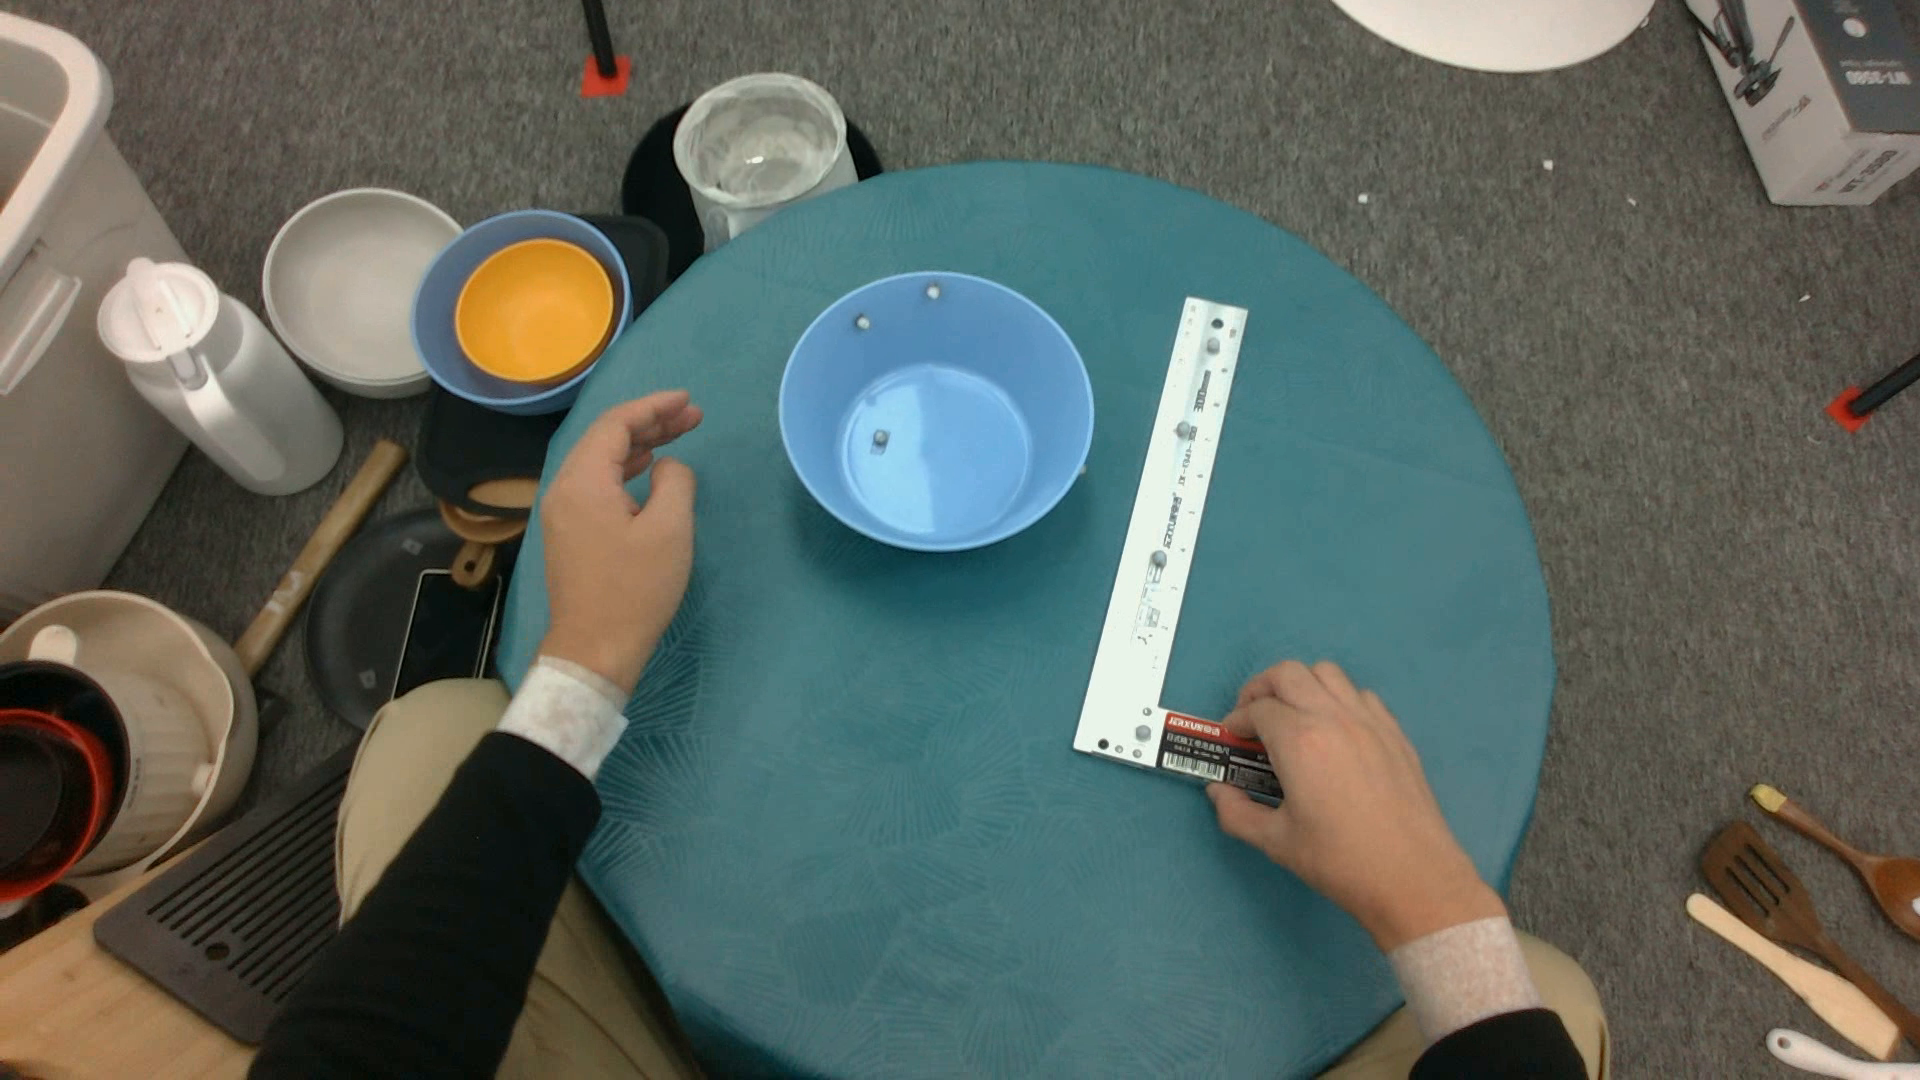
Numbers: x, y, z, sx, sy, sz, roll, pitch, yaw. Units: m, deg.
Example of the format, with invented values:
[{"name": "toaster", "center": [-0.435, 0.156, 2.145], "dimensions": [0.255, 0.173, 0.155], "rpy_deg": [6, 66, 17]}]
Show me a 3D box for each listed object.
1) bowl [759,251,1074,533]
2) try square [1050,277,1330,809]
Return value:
[{"name": "bowl", "center": [-0.025, -0.074, 0.791], "dimensions": [0.176, 0.070, 0.176], "rpy_deg": [2, 68, -4]}, {"name": "try square", "center": [0.162, -0.010, 0.810], "dimensions": [0.152, 0.016, 0.314], "rpy_deg": [15, 67, 5]}]
